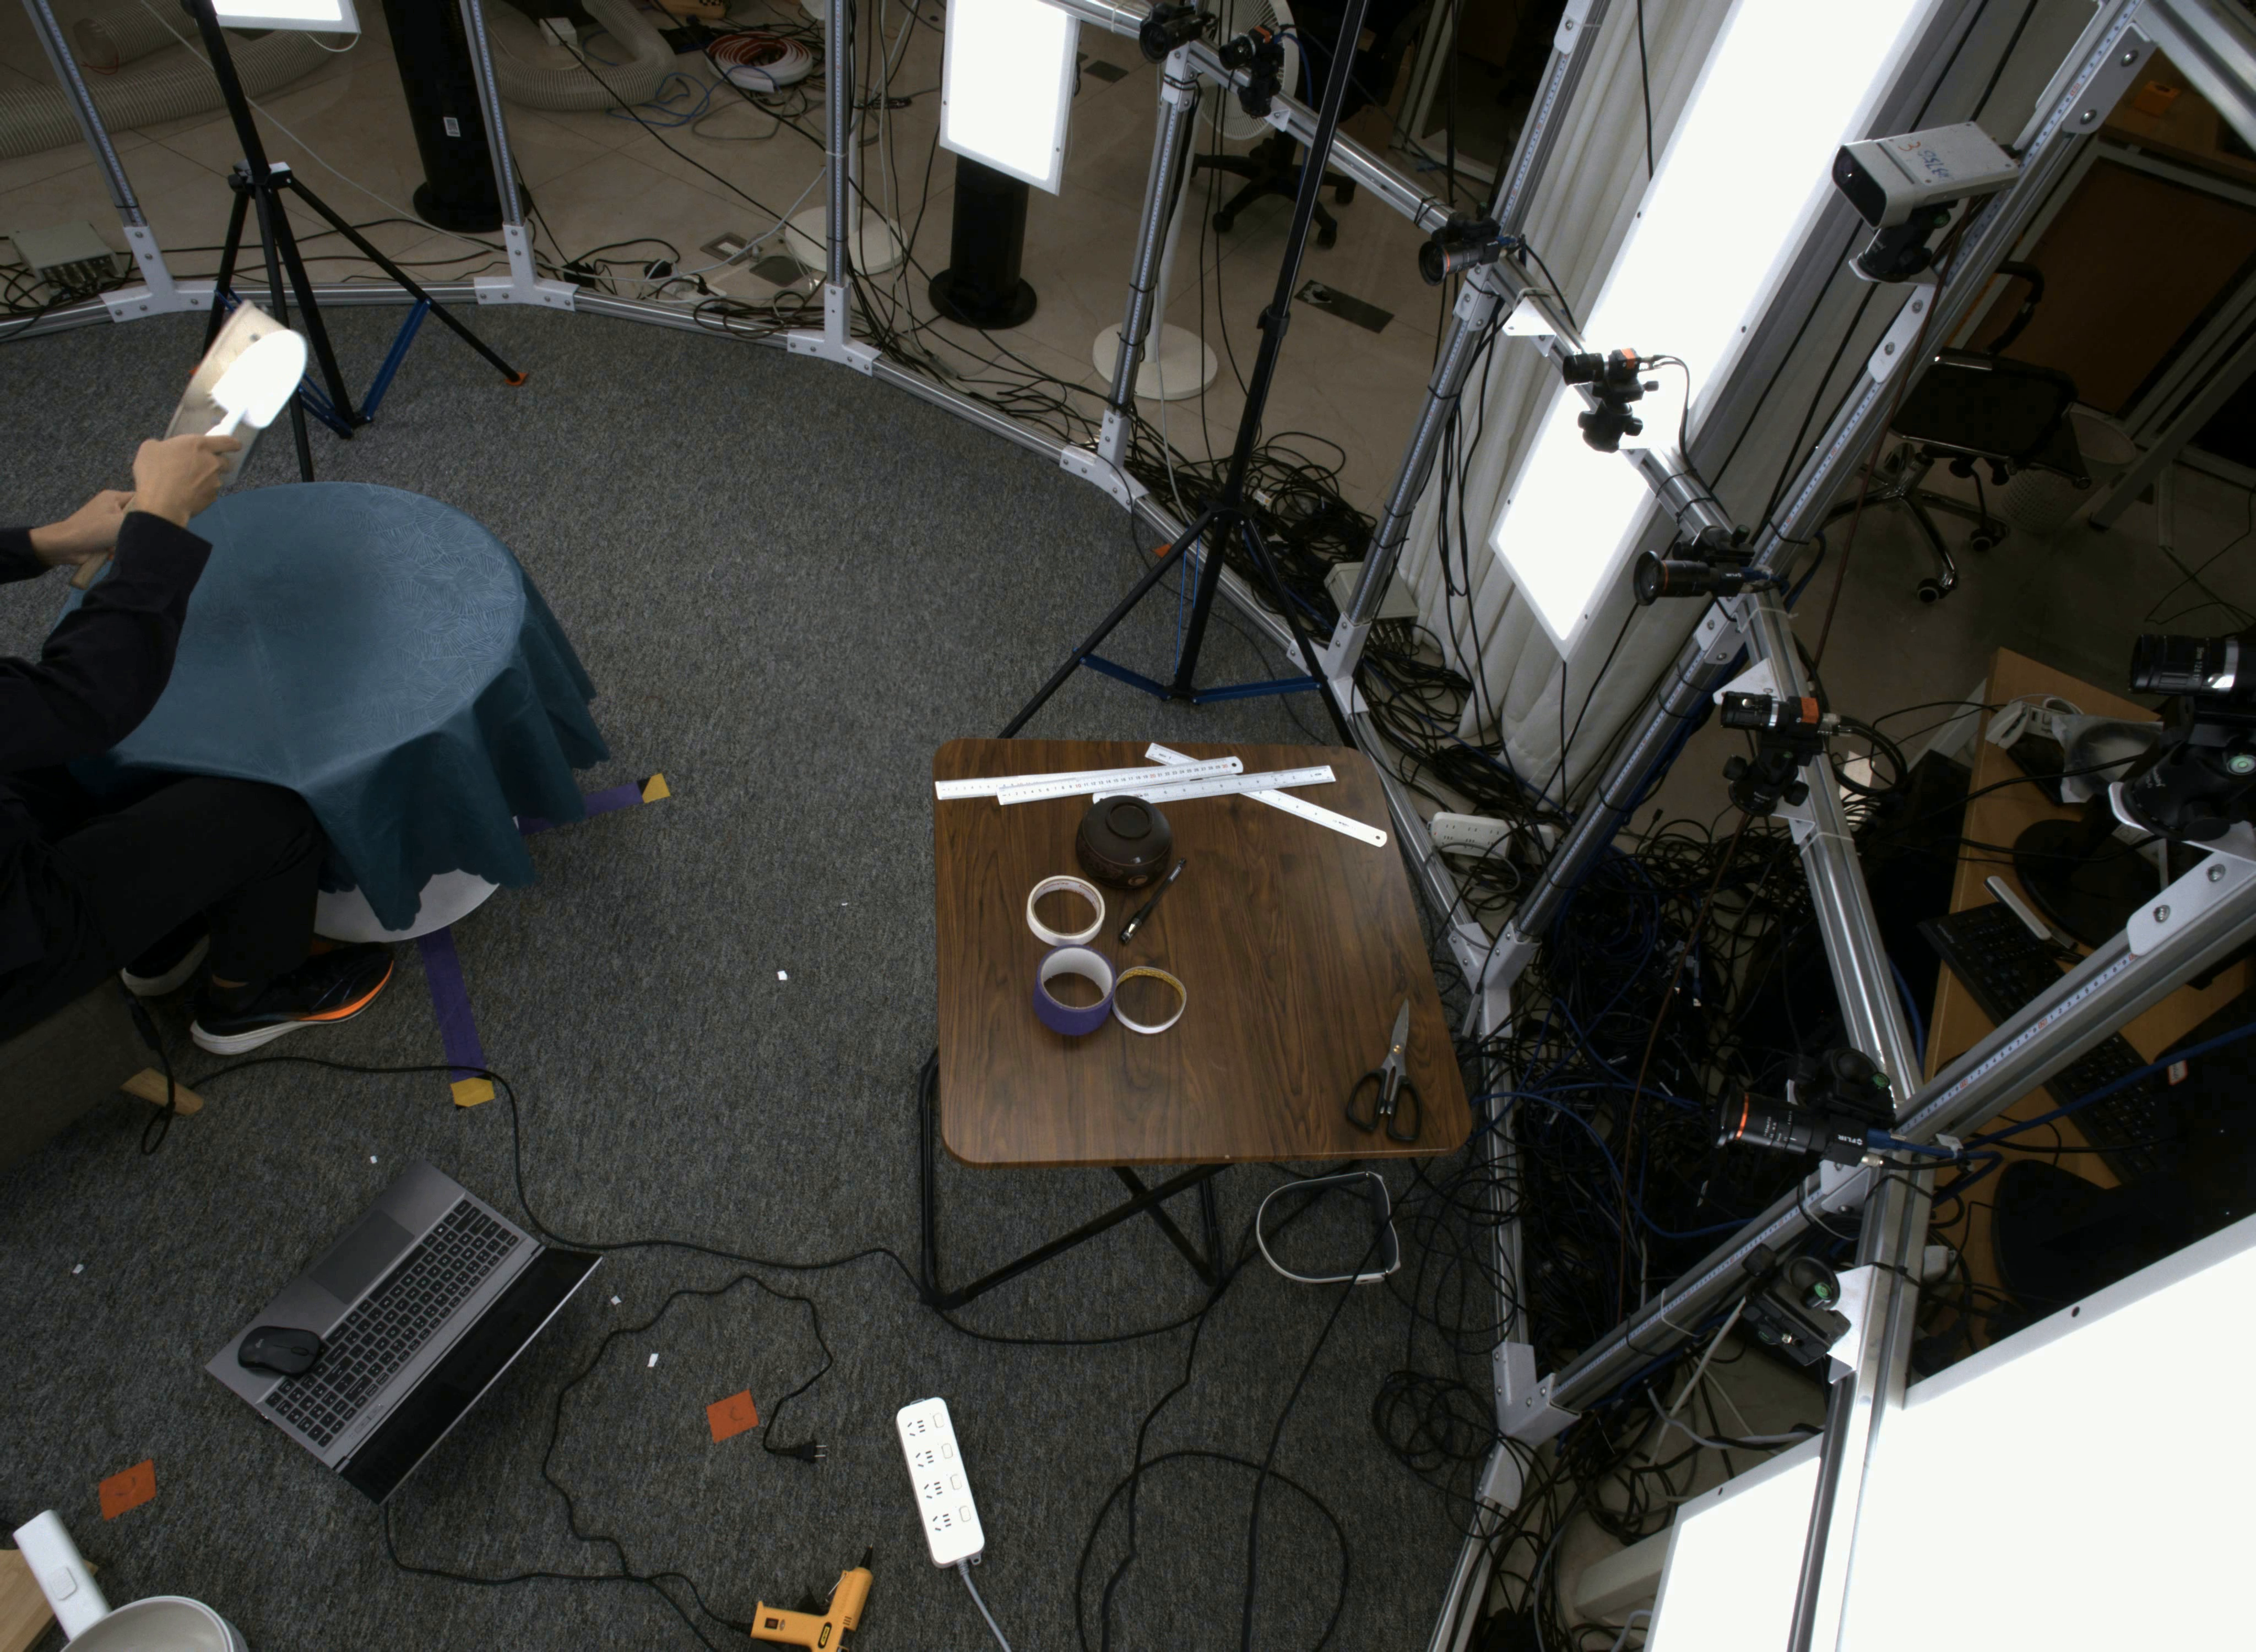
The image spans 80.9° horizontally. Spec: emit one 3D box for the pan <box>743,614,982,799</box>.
[{"bbox_3d":[-0.408,-0.160,2.055,0.434,0.265,0.101,-42,82,-11],"label":"pan"}]

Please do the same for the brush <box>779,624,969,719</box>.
[{"bbox_3d":[-0.372,-0.215,1.885,0.327,0.087,0.080,-30,50,-33],"label":"brush"}]
